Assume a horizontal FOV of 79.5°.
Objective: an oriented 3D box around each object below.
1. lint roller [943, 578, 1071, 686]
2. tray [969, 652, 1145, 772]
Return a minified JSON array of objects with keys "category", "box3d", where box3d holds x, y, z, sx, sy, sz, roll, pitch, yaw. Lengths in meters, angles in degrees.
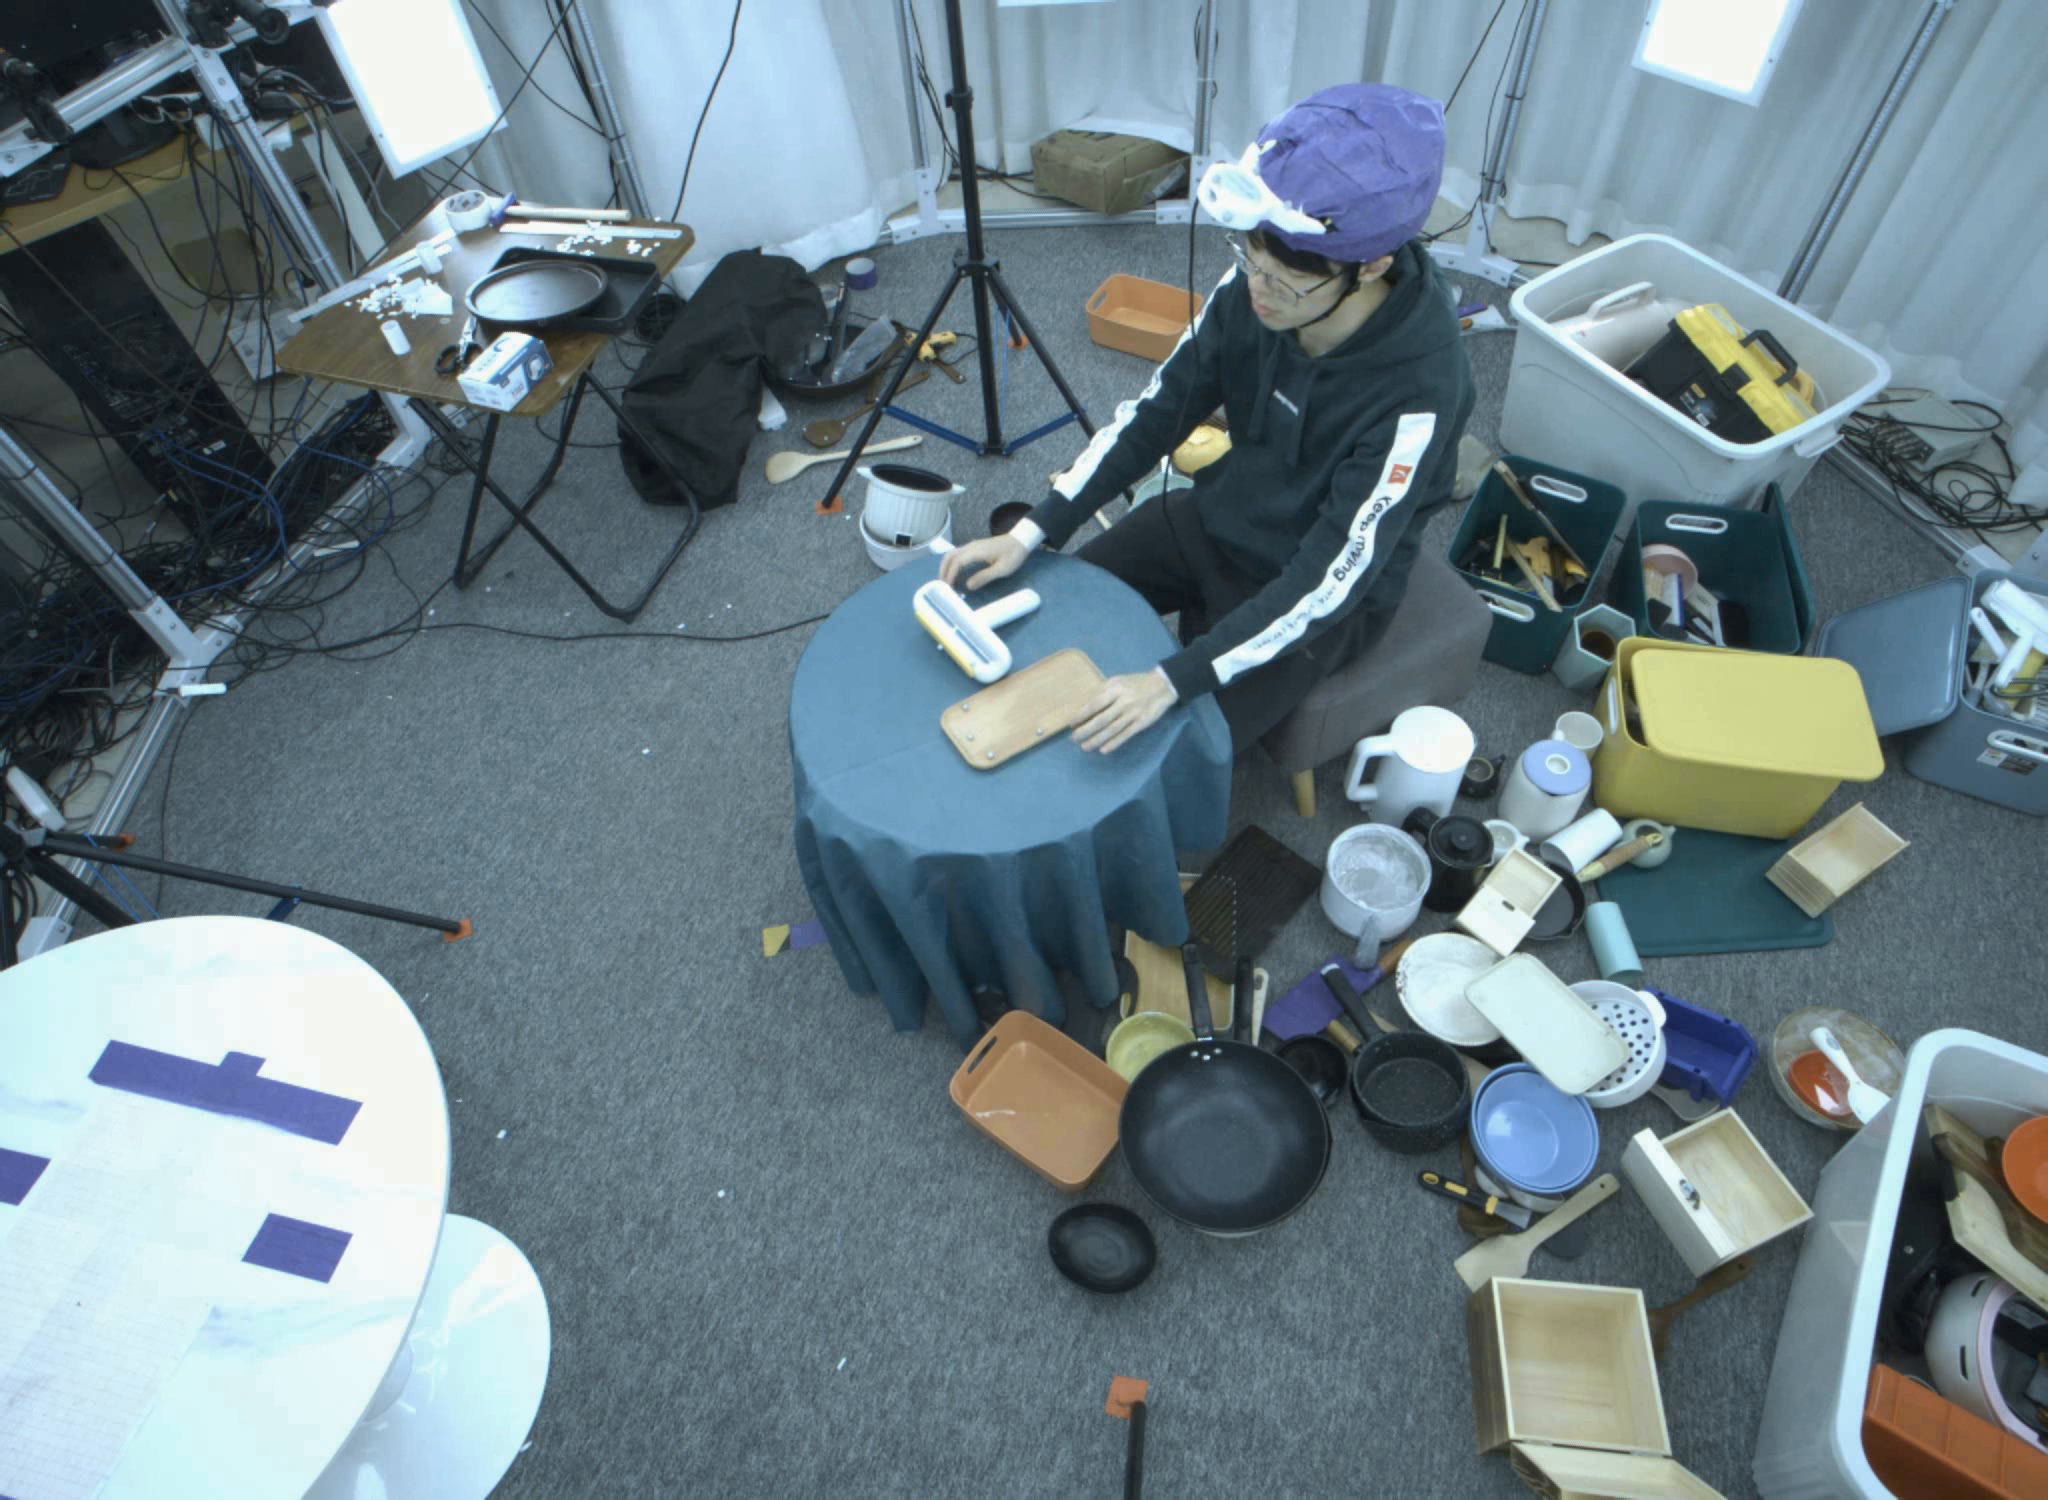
[{"category":"lint roller","box3d":[-0.007,-0.192,1.901,0.195,0.074,0.190,-21,62,-30]},{"category":"tray","box3d":[0.049,-0.057,1.811,0.253,0.023,0.128,-25,60,-16]}]
